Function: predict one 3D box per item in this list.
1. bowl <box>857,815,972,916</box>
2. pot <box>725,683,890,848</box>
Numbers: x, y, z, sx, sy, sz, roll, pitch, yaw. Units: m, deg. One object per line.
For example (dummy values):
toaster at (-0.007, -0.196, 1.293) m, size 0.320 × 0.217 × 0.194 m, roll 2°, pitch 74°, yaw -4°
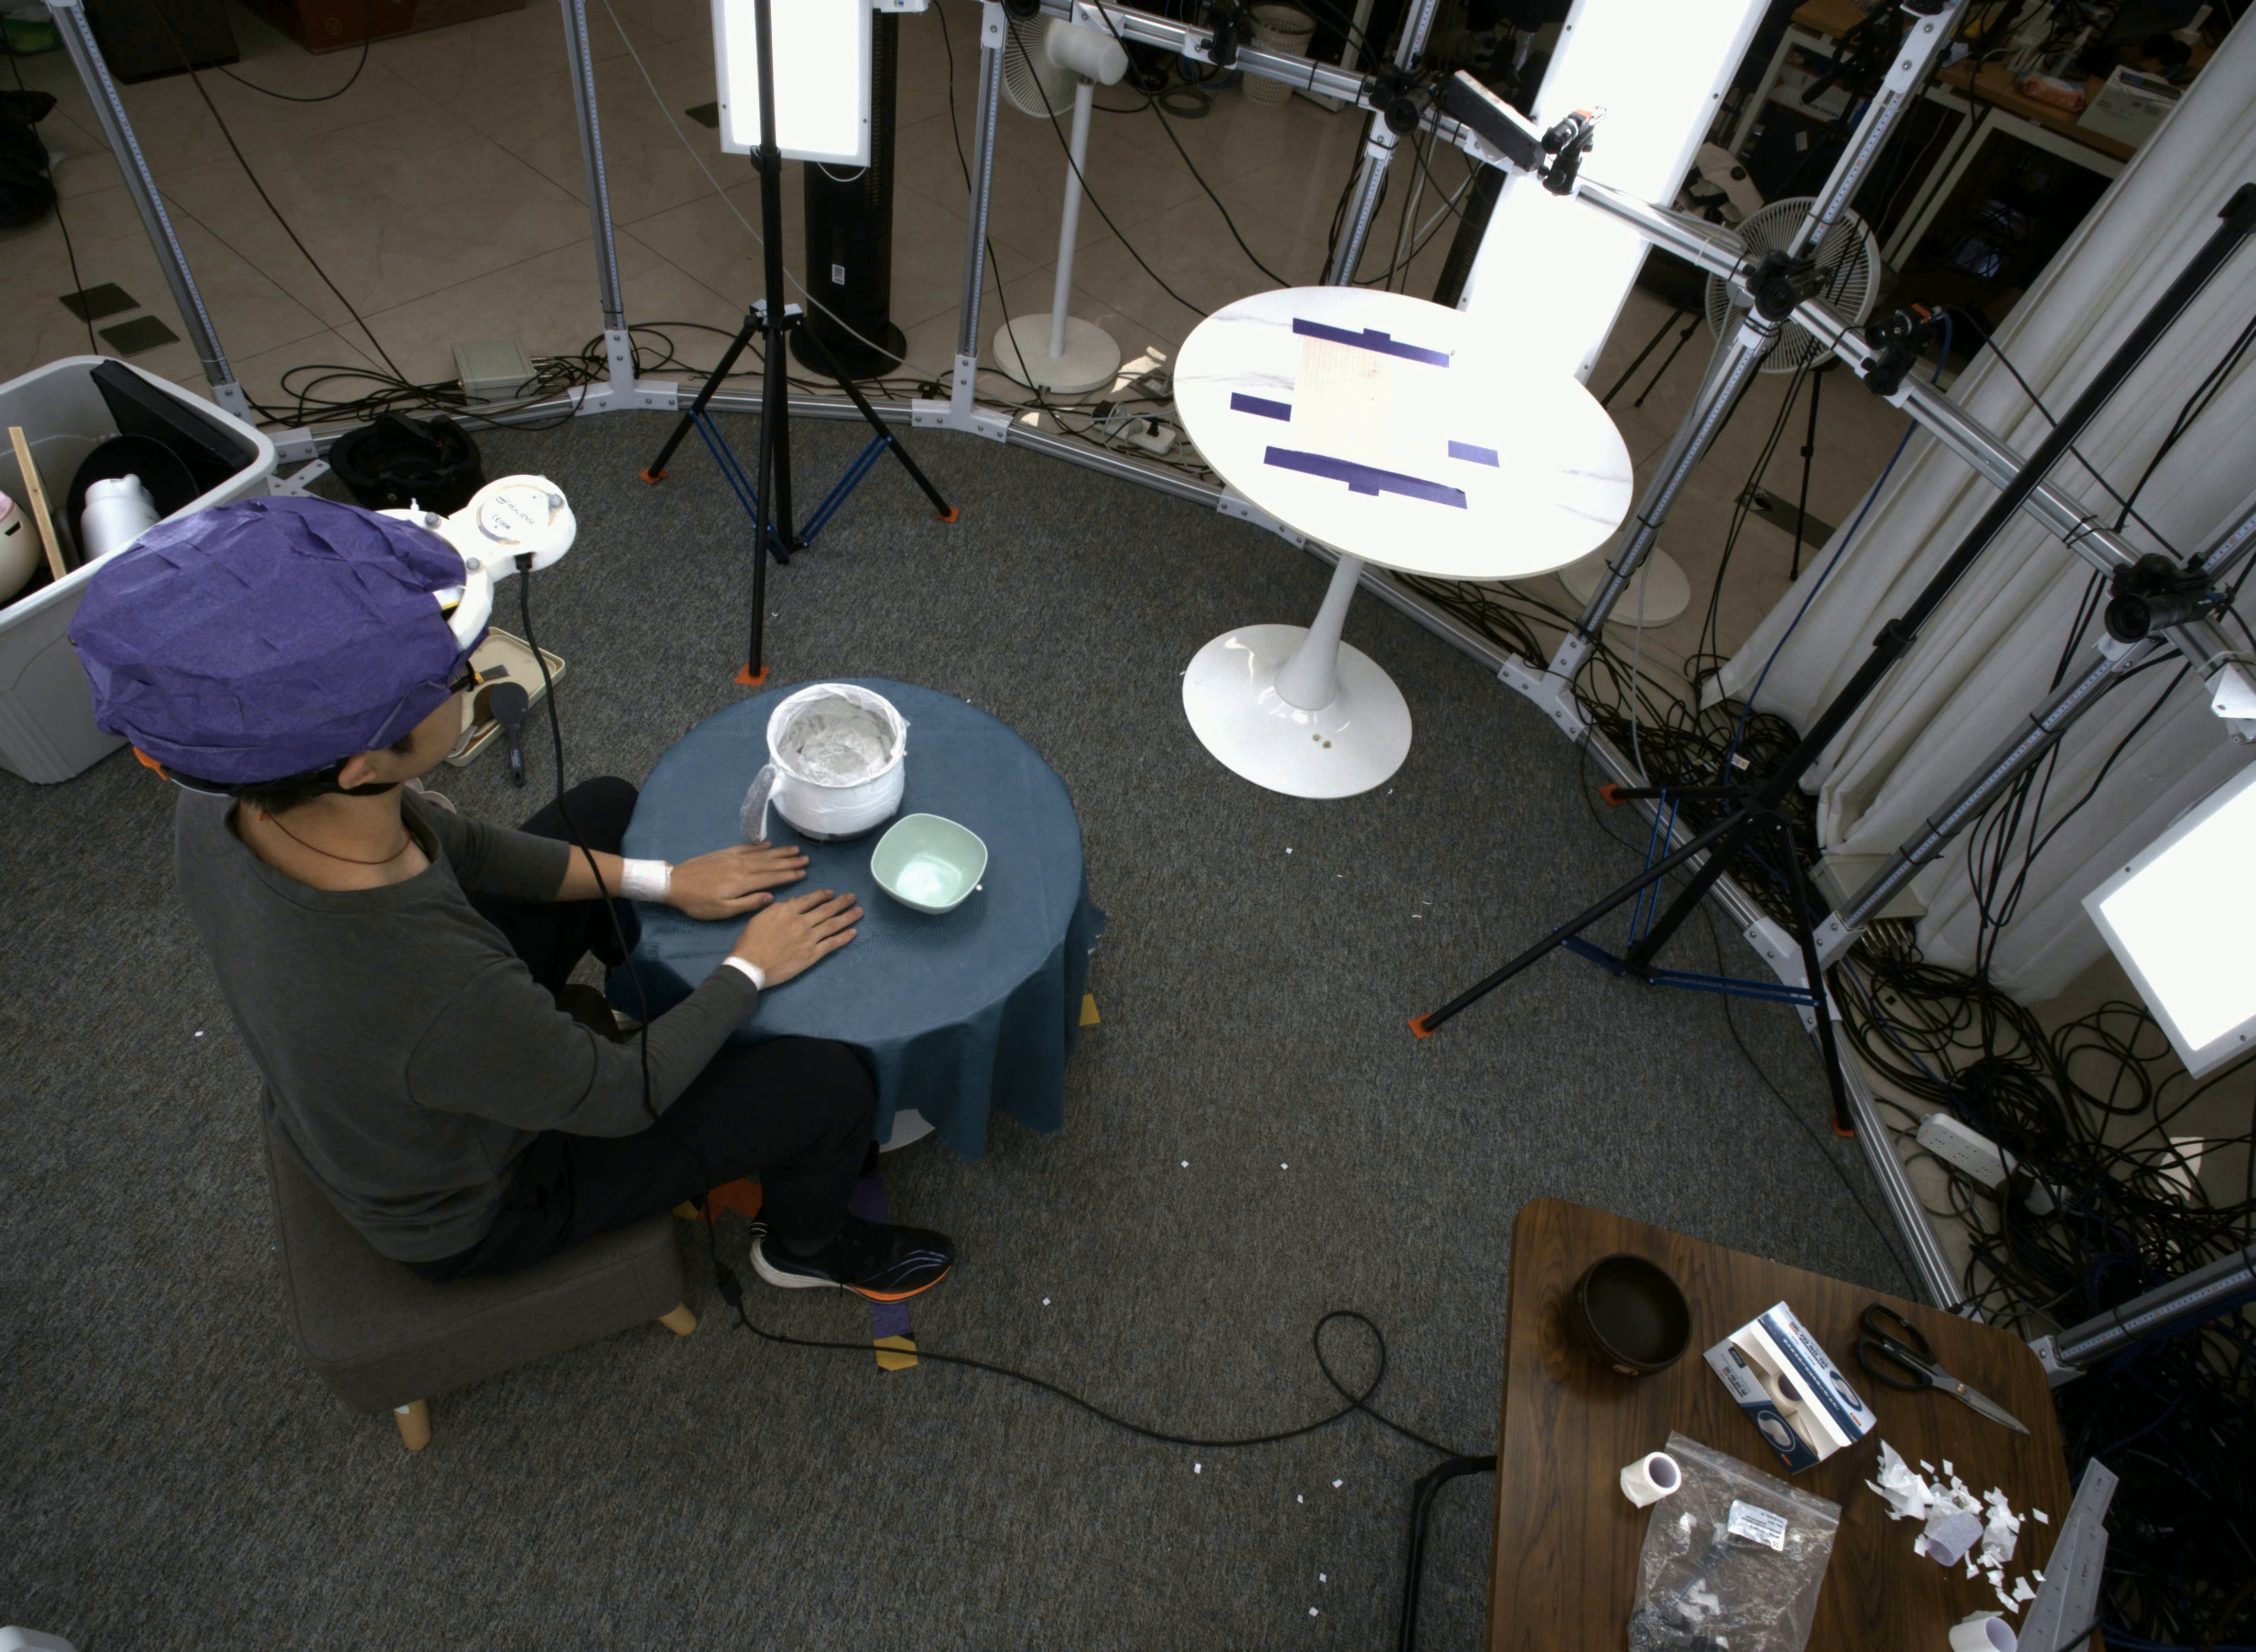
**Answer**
bowl at (-0.278, 0.060, 1.692) m, size 0.151 × 0.060 × 0.148 m, roll 9°, pitch 51°, yaw -9°
pot at (-0.424, -0.065, 1.697) m, size 0.175 × 0.139 × 0.234 m, roll 41°, pitch 56°, yaw 18°
